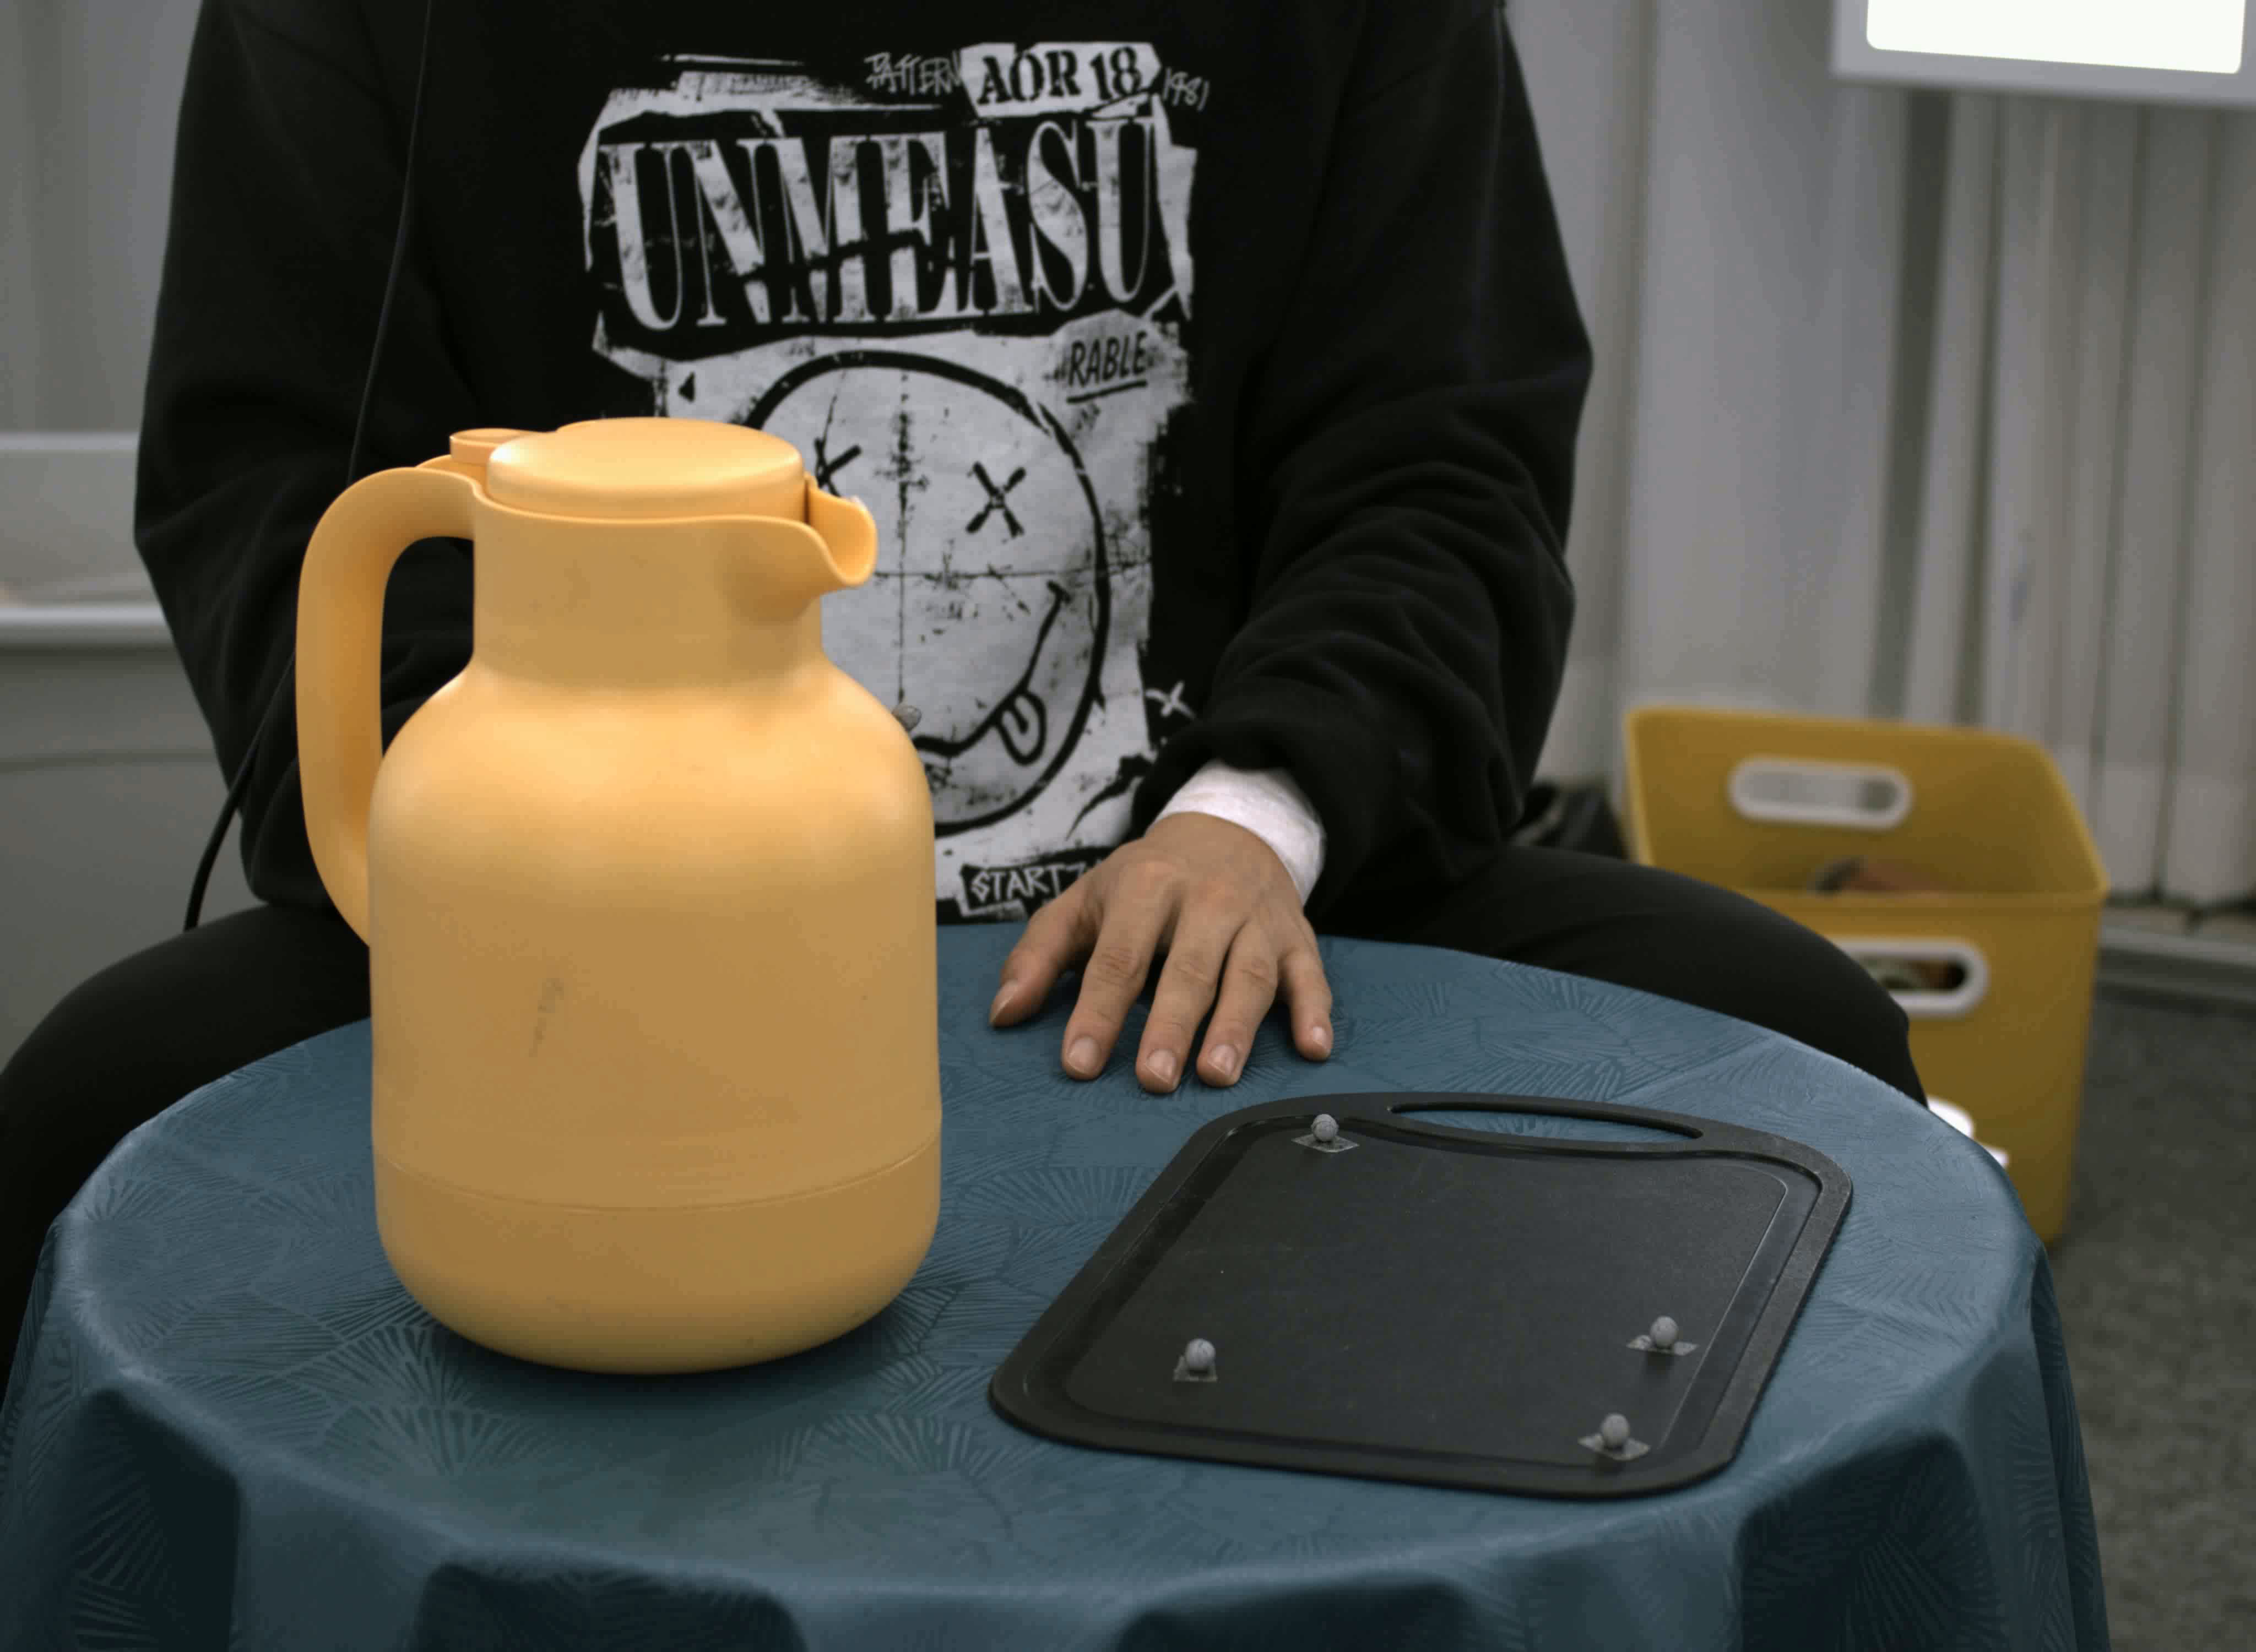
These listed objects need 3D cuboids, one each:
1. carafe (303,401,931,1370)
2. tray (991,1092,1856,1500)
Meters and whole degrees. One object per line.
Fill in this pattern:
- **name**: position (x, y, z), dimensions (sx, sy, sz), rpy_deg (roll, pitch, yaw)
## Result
- **carafe**: position (-0.151, 0.009, 1.496), dimensions (0.200, 0.262, 0.164), rpy_deg (14, 18, 33)
- **tray**: position (0.095, 0.129, 1.553), dimensions (0.209, 0.010, 0.325), rpy_deg (5, 16, 15)
